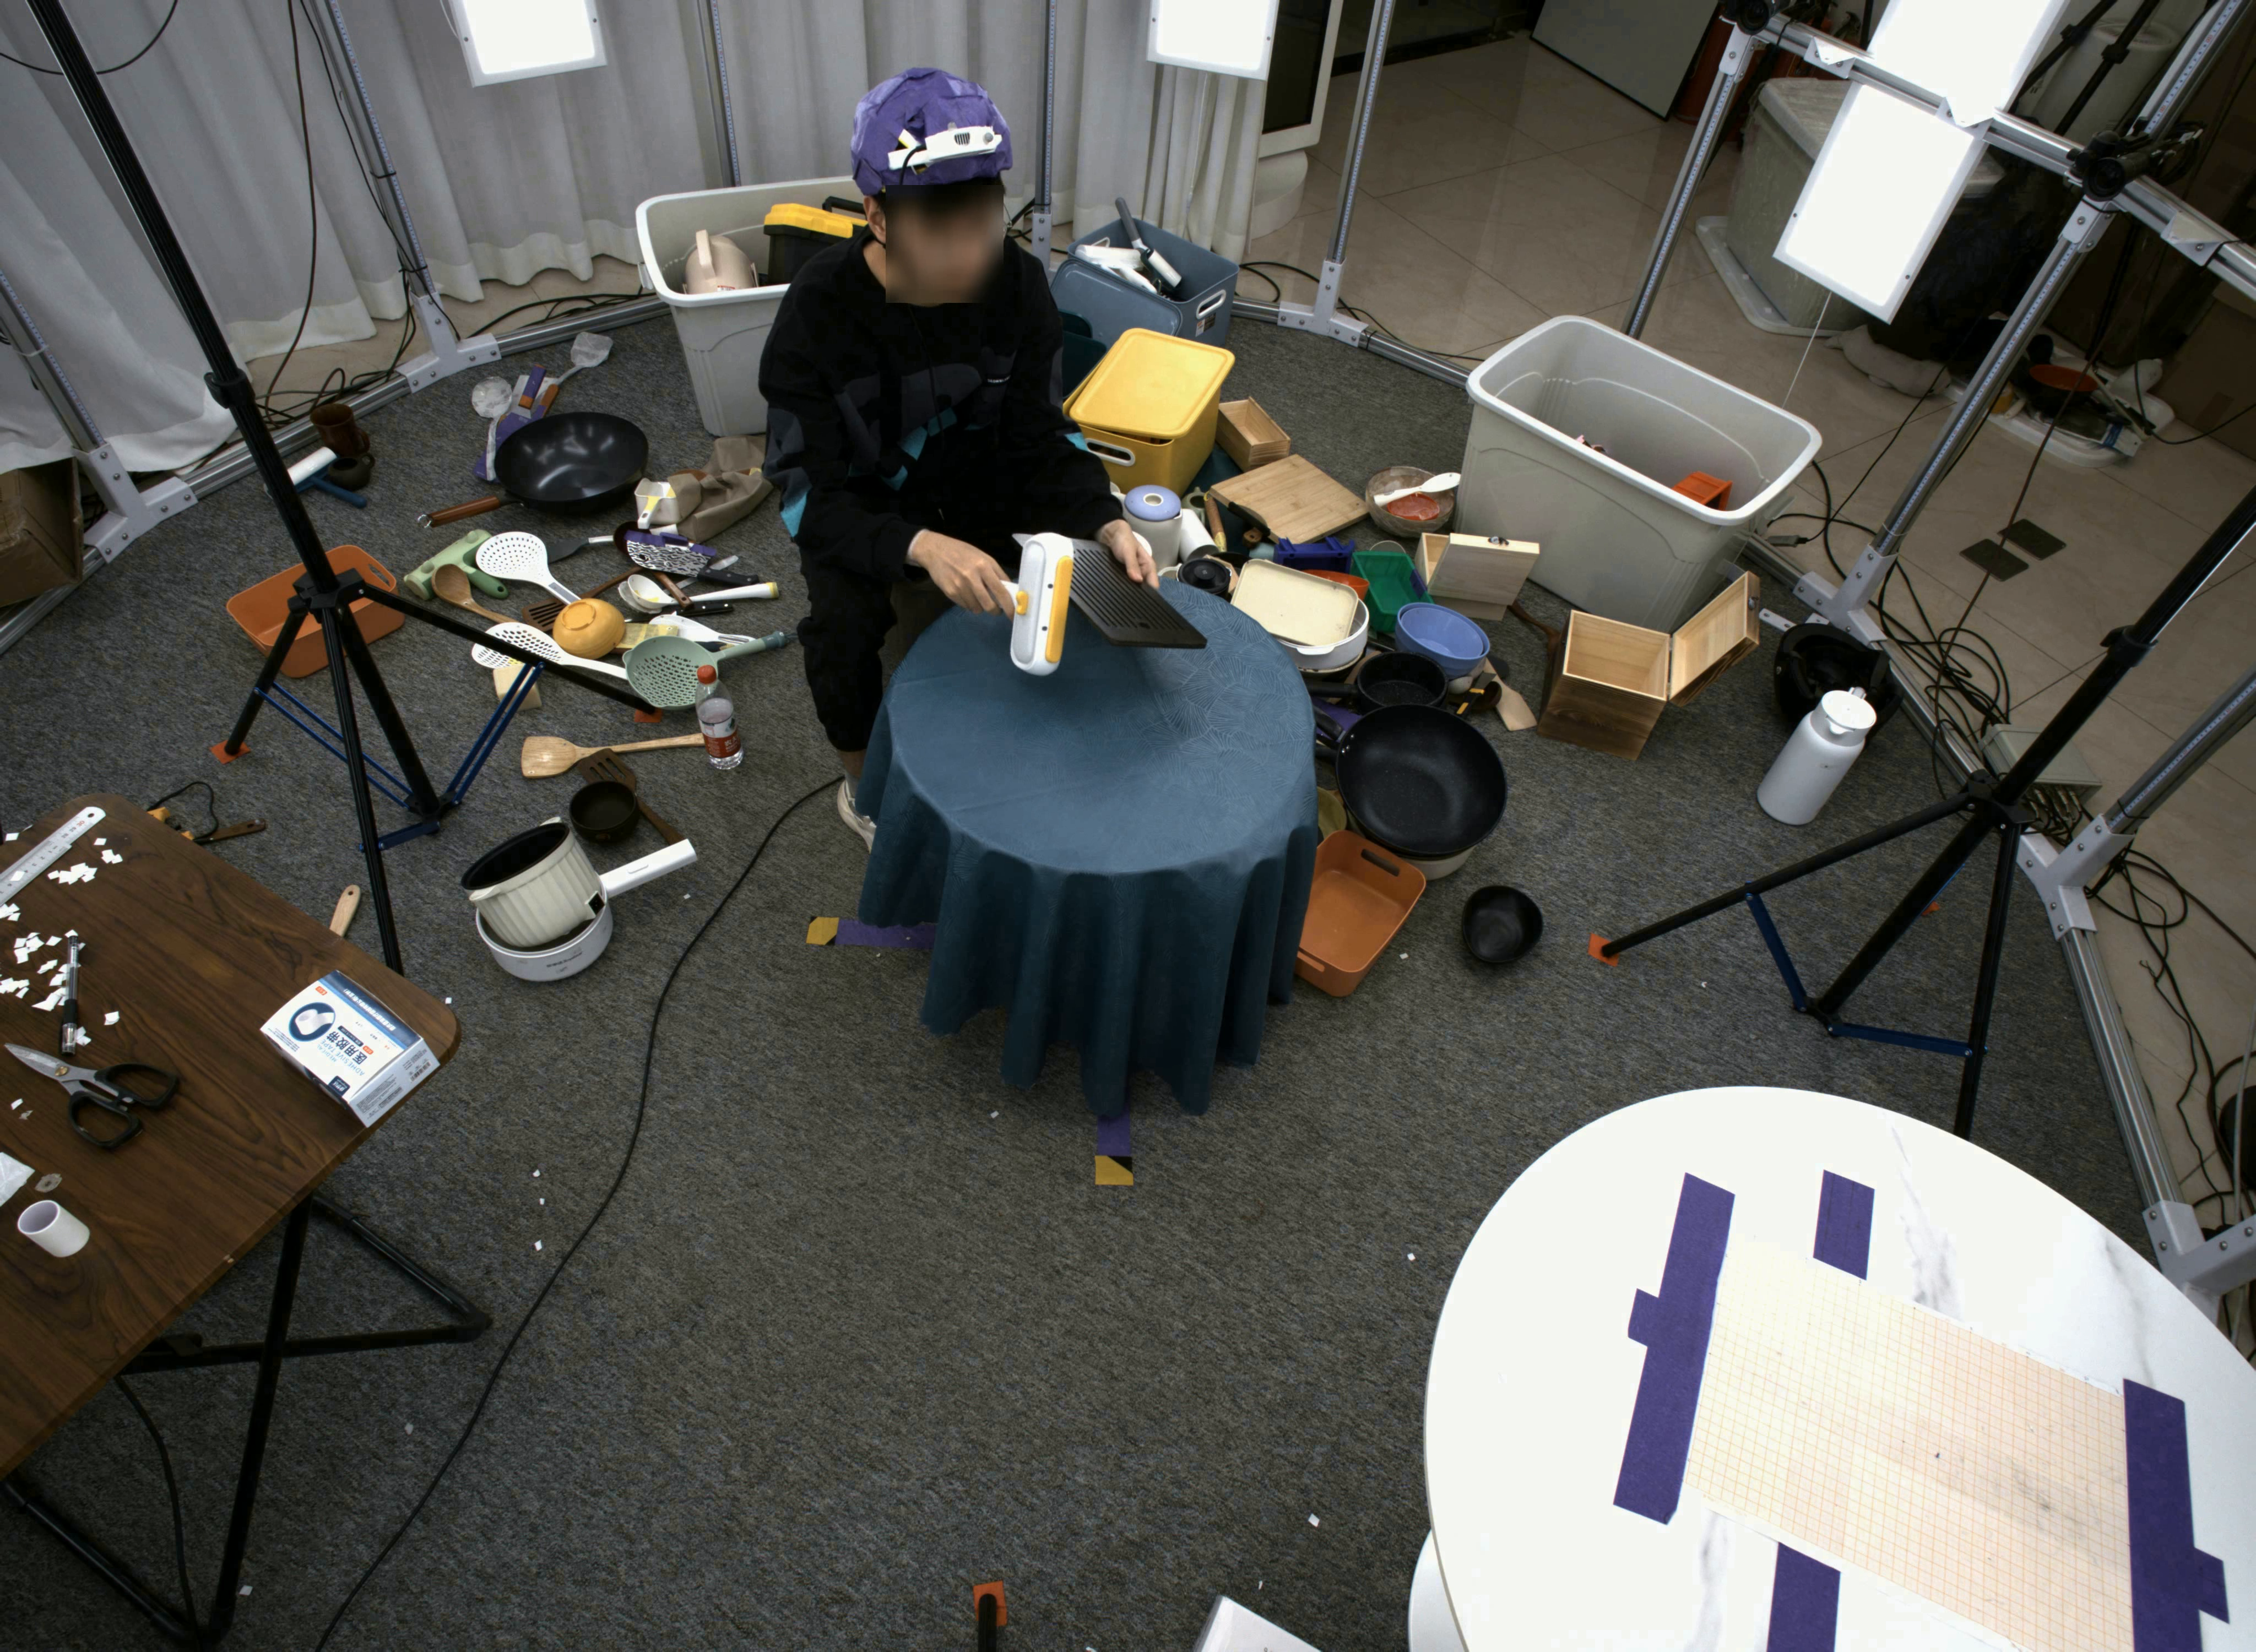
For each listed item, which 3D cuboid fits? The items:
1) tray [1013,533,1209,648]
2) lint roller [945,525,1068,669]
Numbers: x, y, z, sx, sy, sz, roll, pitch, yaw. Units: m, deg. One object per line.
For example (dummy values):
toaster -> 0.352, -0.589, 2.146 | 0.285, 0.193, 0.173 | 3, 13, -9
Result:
tray -> -0.028, -0.332, 1.823 | 0.169, 0.018, 0.312 | -3, 38, -35
lint roller -> -0.167, -0.321, 1.778 | 0.194, 0.190, 0.074 | 16, 22, 37
